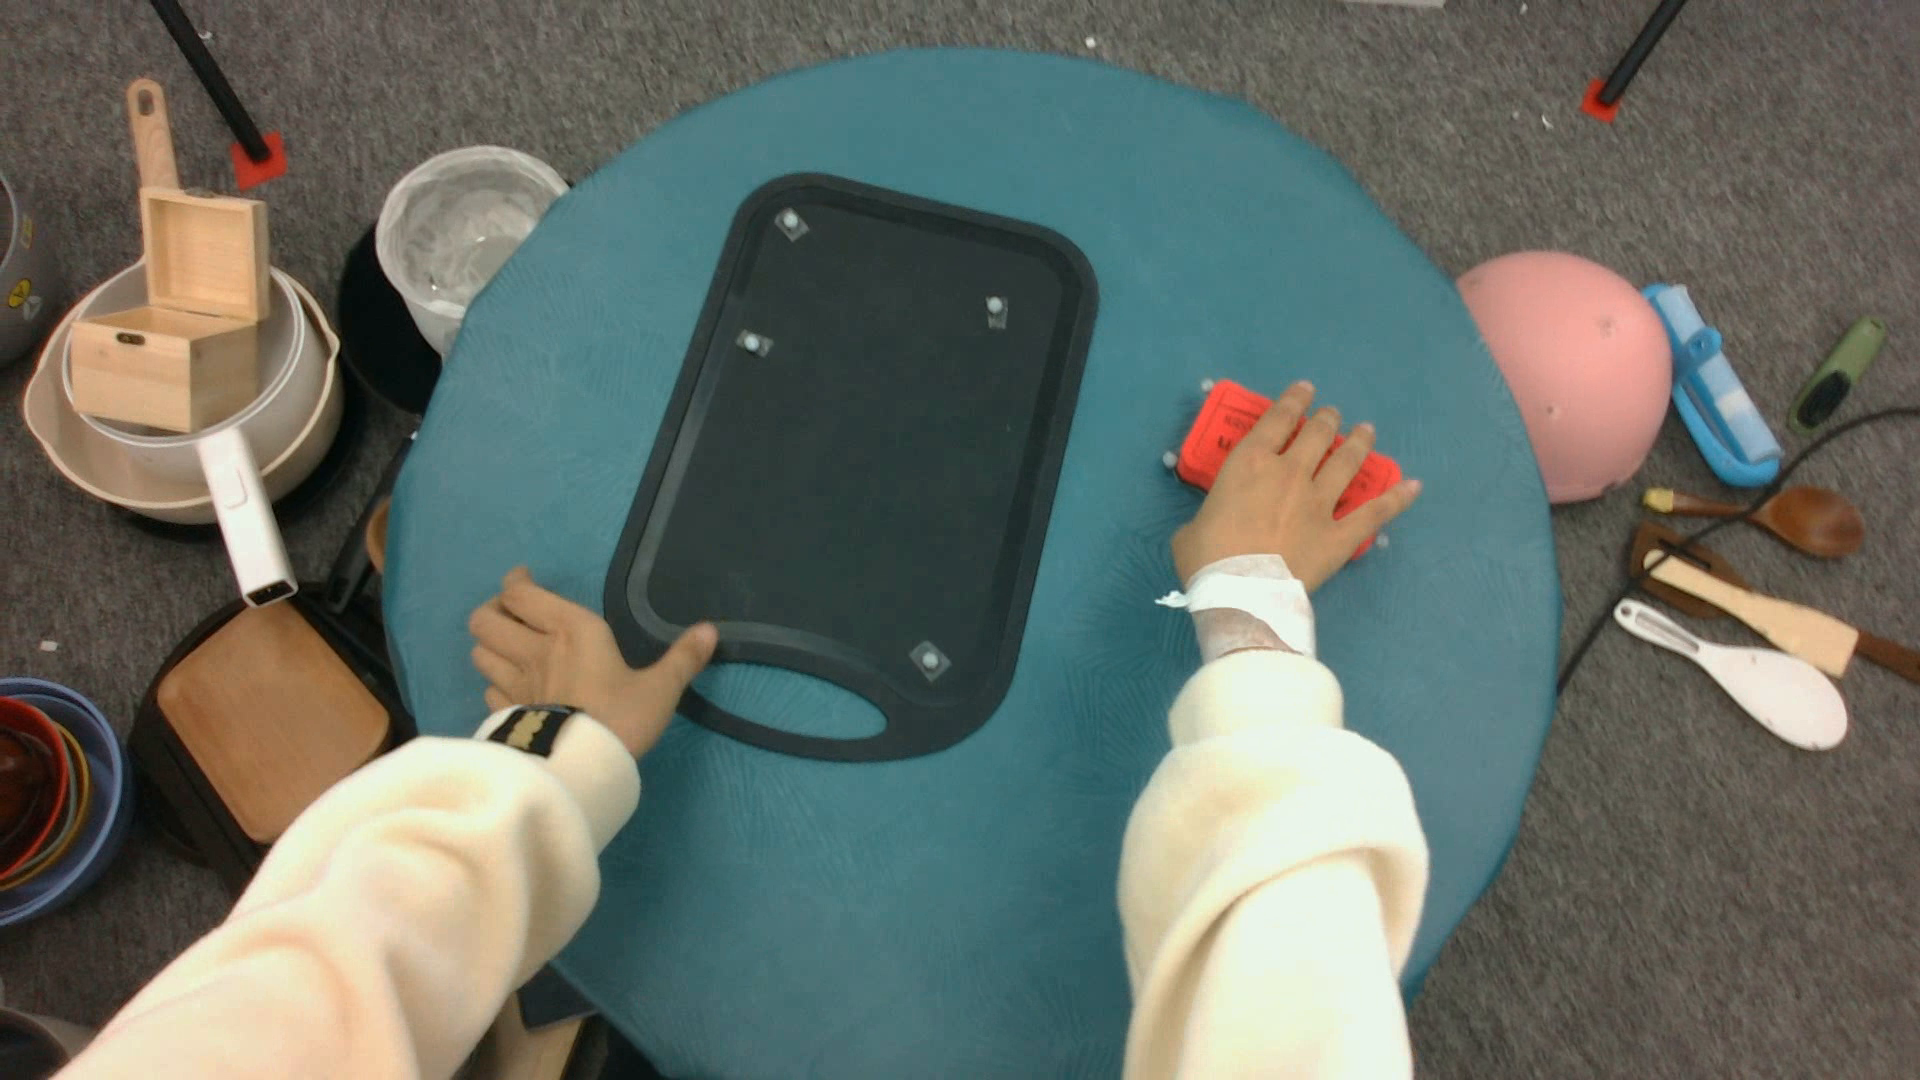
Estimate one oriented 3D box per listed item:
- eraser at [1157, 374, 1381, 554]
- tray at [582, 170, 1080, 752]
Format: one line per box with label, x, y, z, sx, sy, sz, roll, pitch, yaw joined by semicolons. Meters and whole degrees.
eraser;0.163;-0.041;0.727;0.108;0.023;0.059;27;68;7
tray;-0.062;-0.050;0.721;0.211;0.010;0.326;14;68;1
